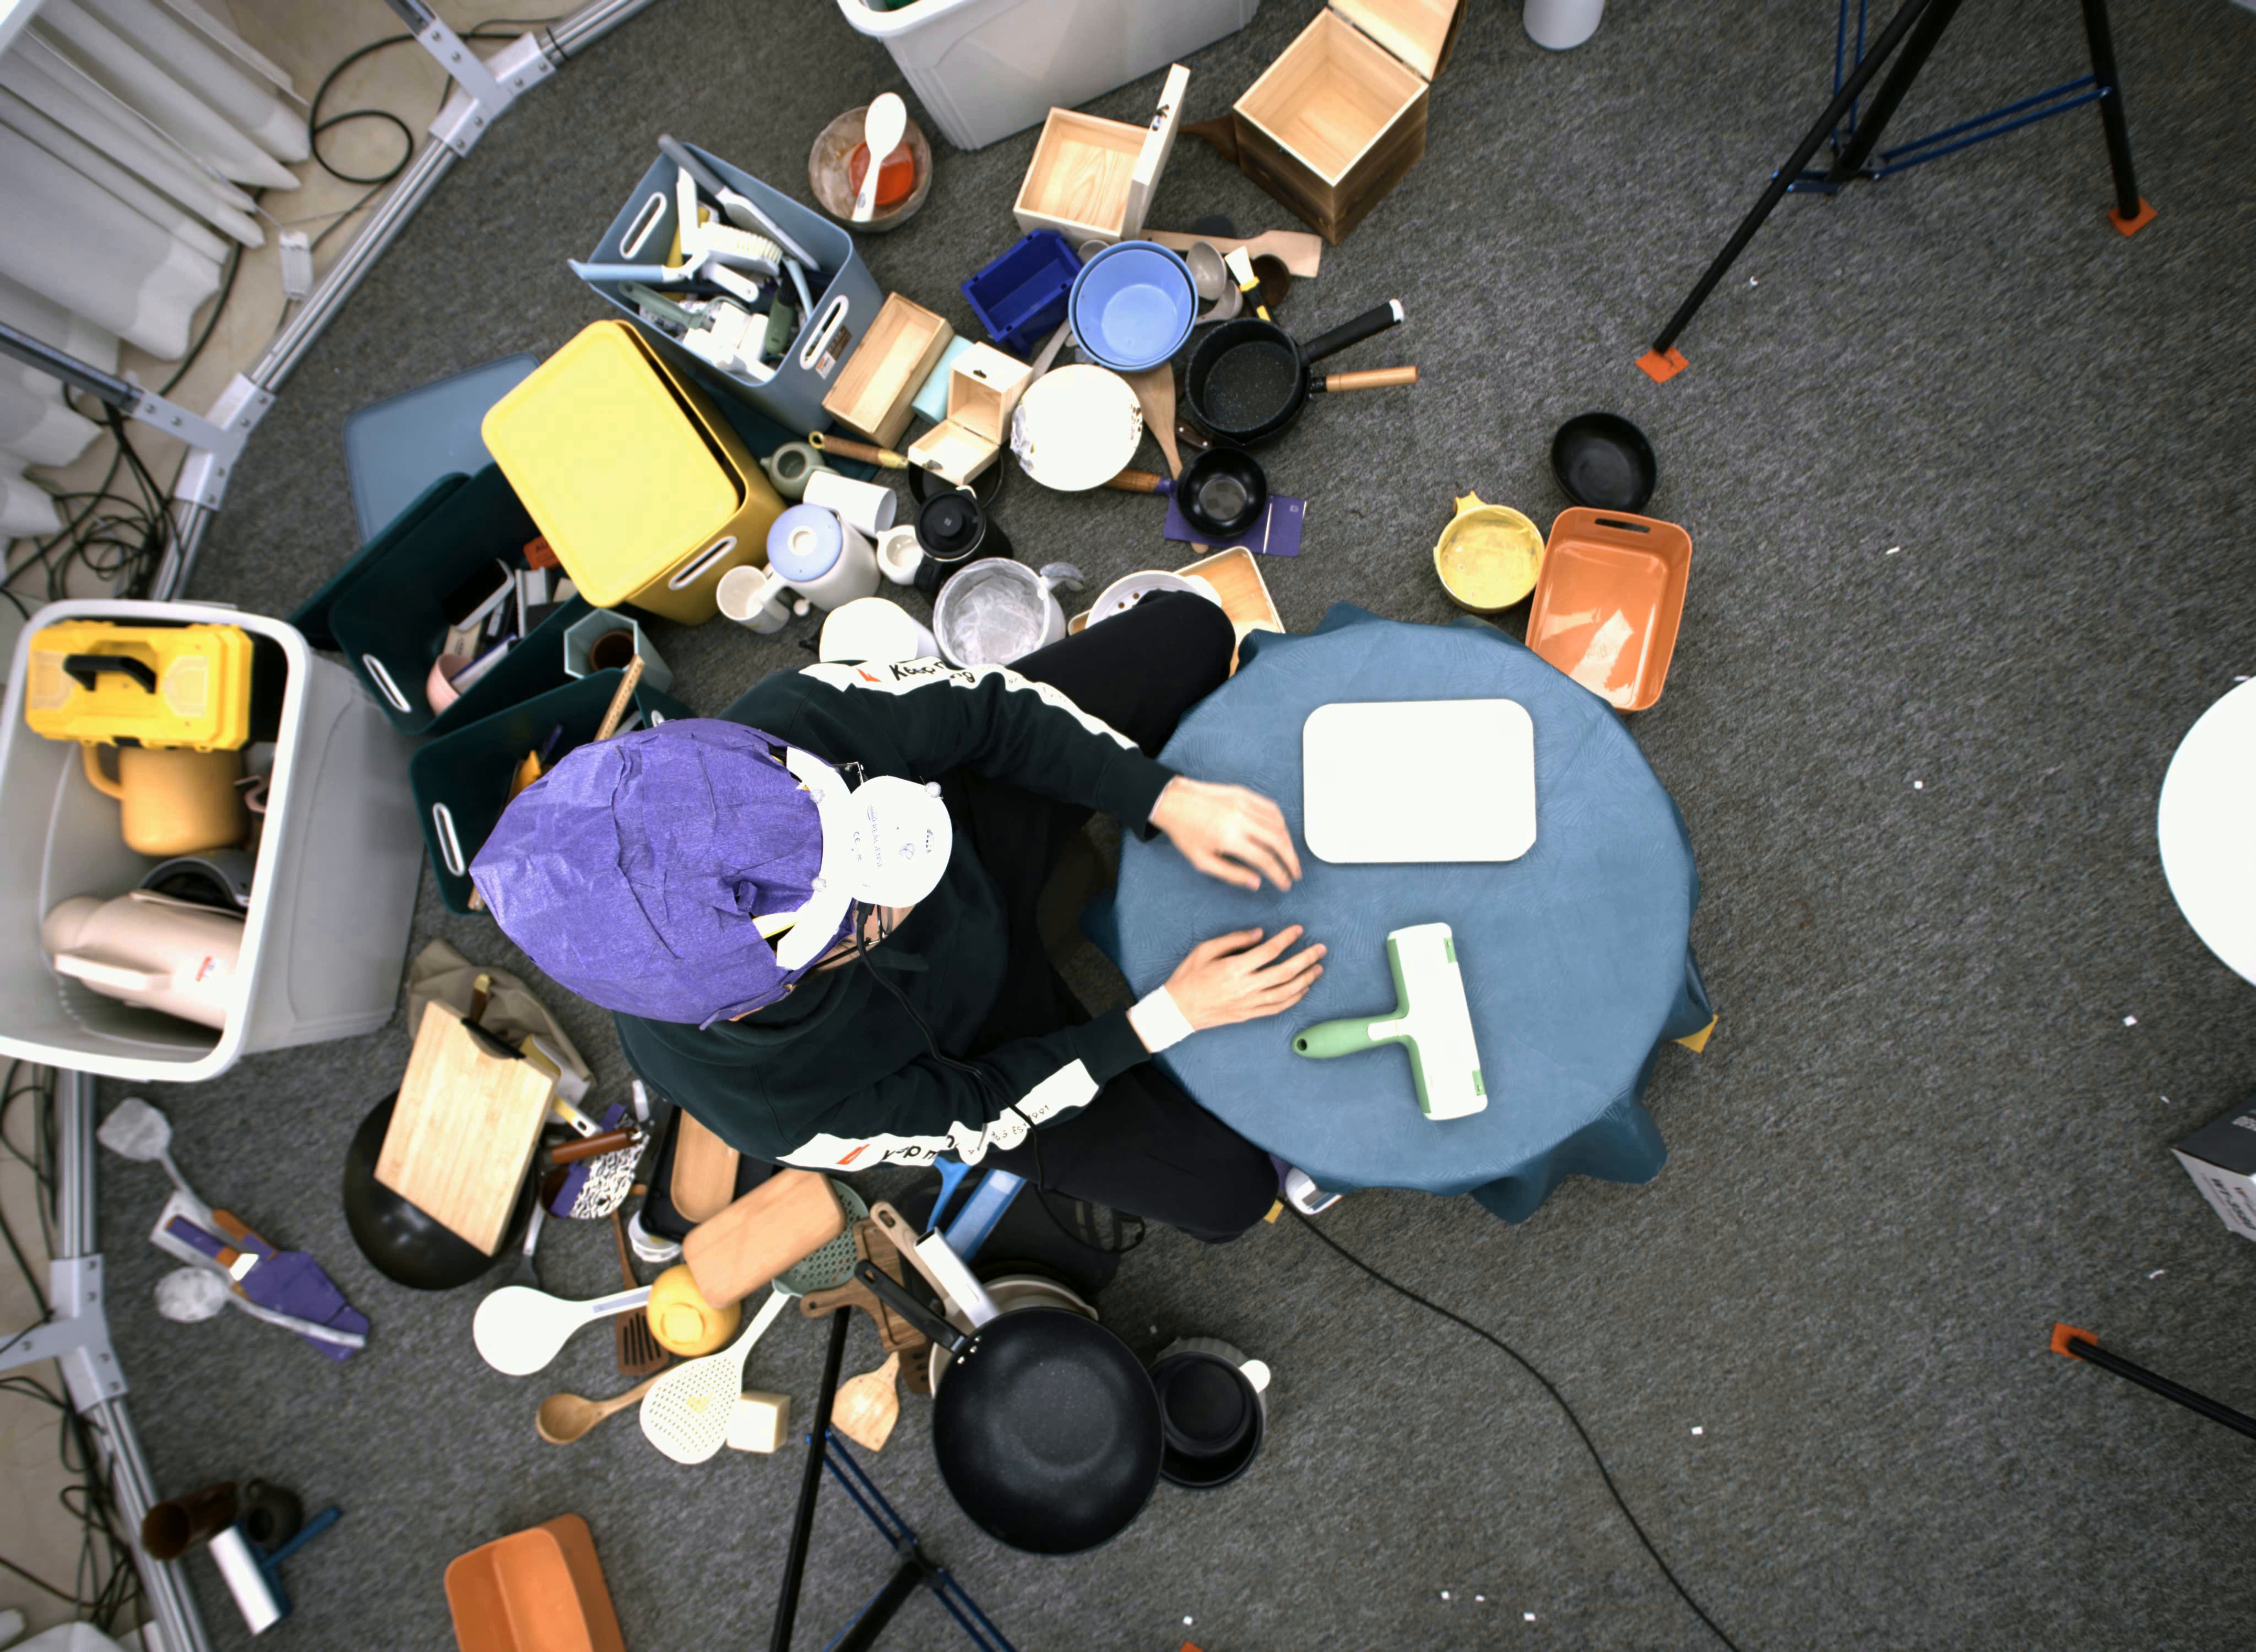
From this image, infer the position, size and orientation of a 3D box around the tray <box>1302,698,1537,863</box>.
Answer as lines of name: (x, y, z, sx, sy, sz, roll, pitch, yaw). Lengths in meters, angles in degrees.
tray: (0.305, -0.049, 1.446, 0.240, 0.017, 0.170, -1, 86, 10)

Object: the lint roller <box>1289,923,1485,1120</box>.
lint roller: (0.256, 0.208, 1.412, 0.184, 0.082, 0.197, -11, 85, 5)
